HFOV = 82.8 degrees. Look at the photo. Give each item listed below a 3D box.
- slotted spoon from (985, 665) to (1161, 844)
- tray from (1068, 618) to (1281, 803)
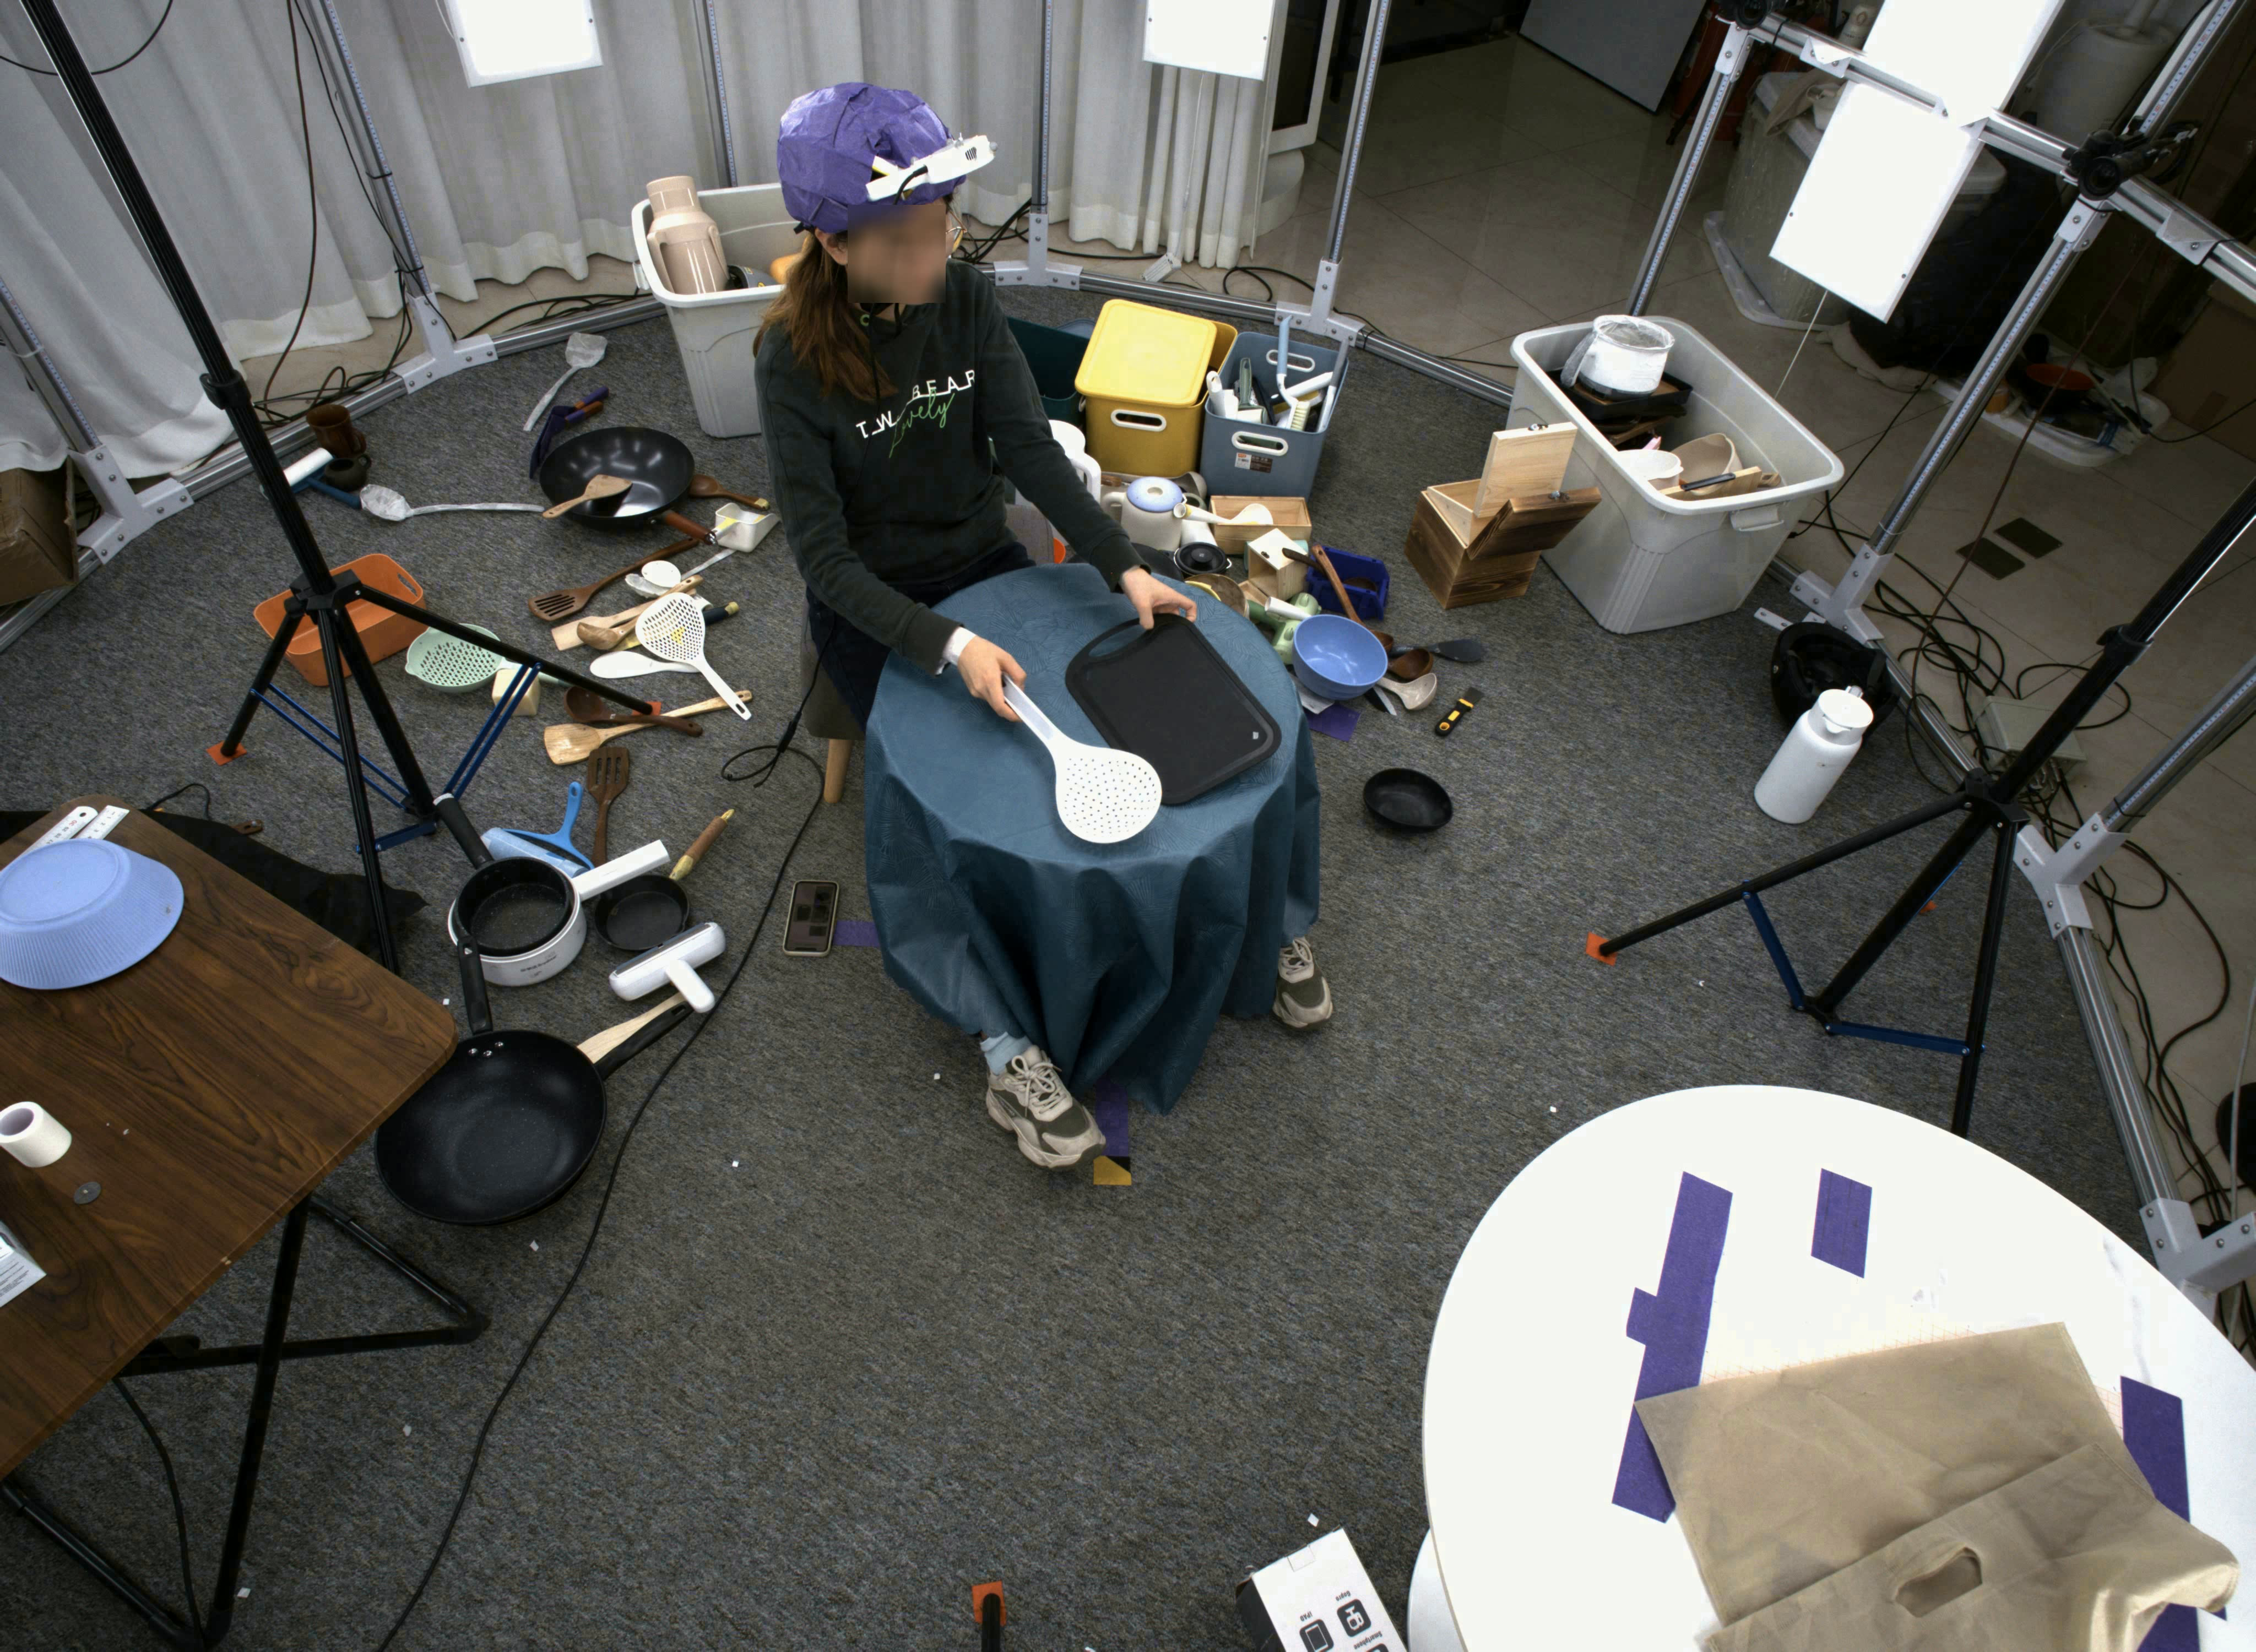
[{"bbox_3d":[-0.088,-0.104,1.720,0.136,0.045,0.356,-36,64,-11],"label":"slotted spoon"},{"bbox_3d":[0.057,-0.175,1.810,0.211,0.009,0.332,-27,55,-12],"label":"tray"}]
